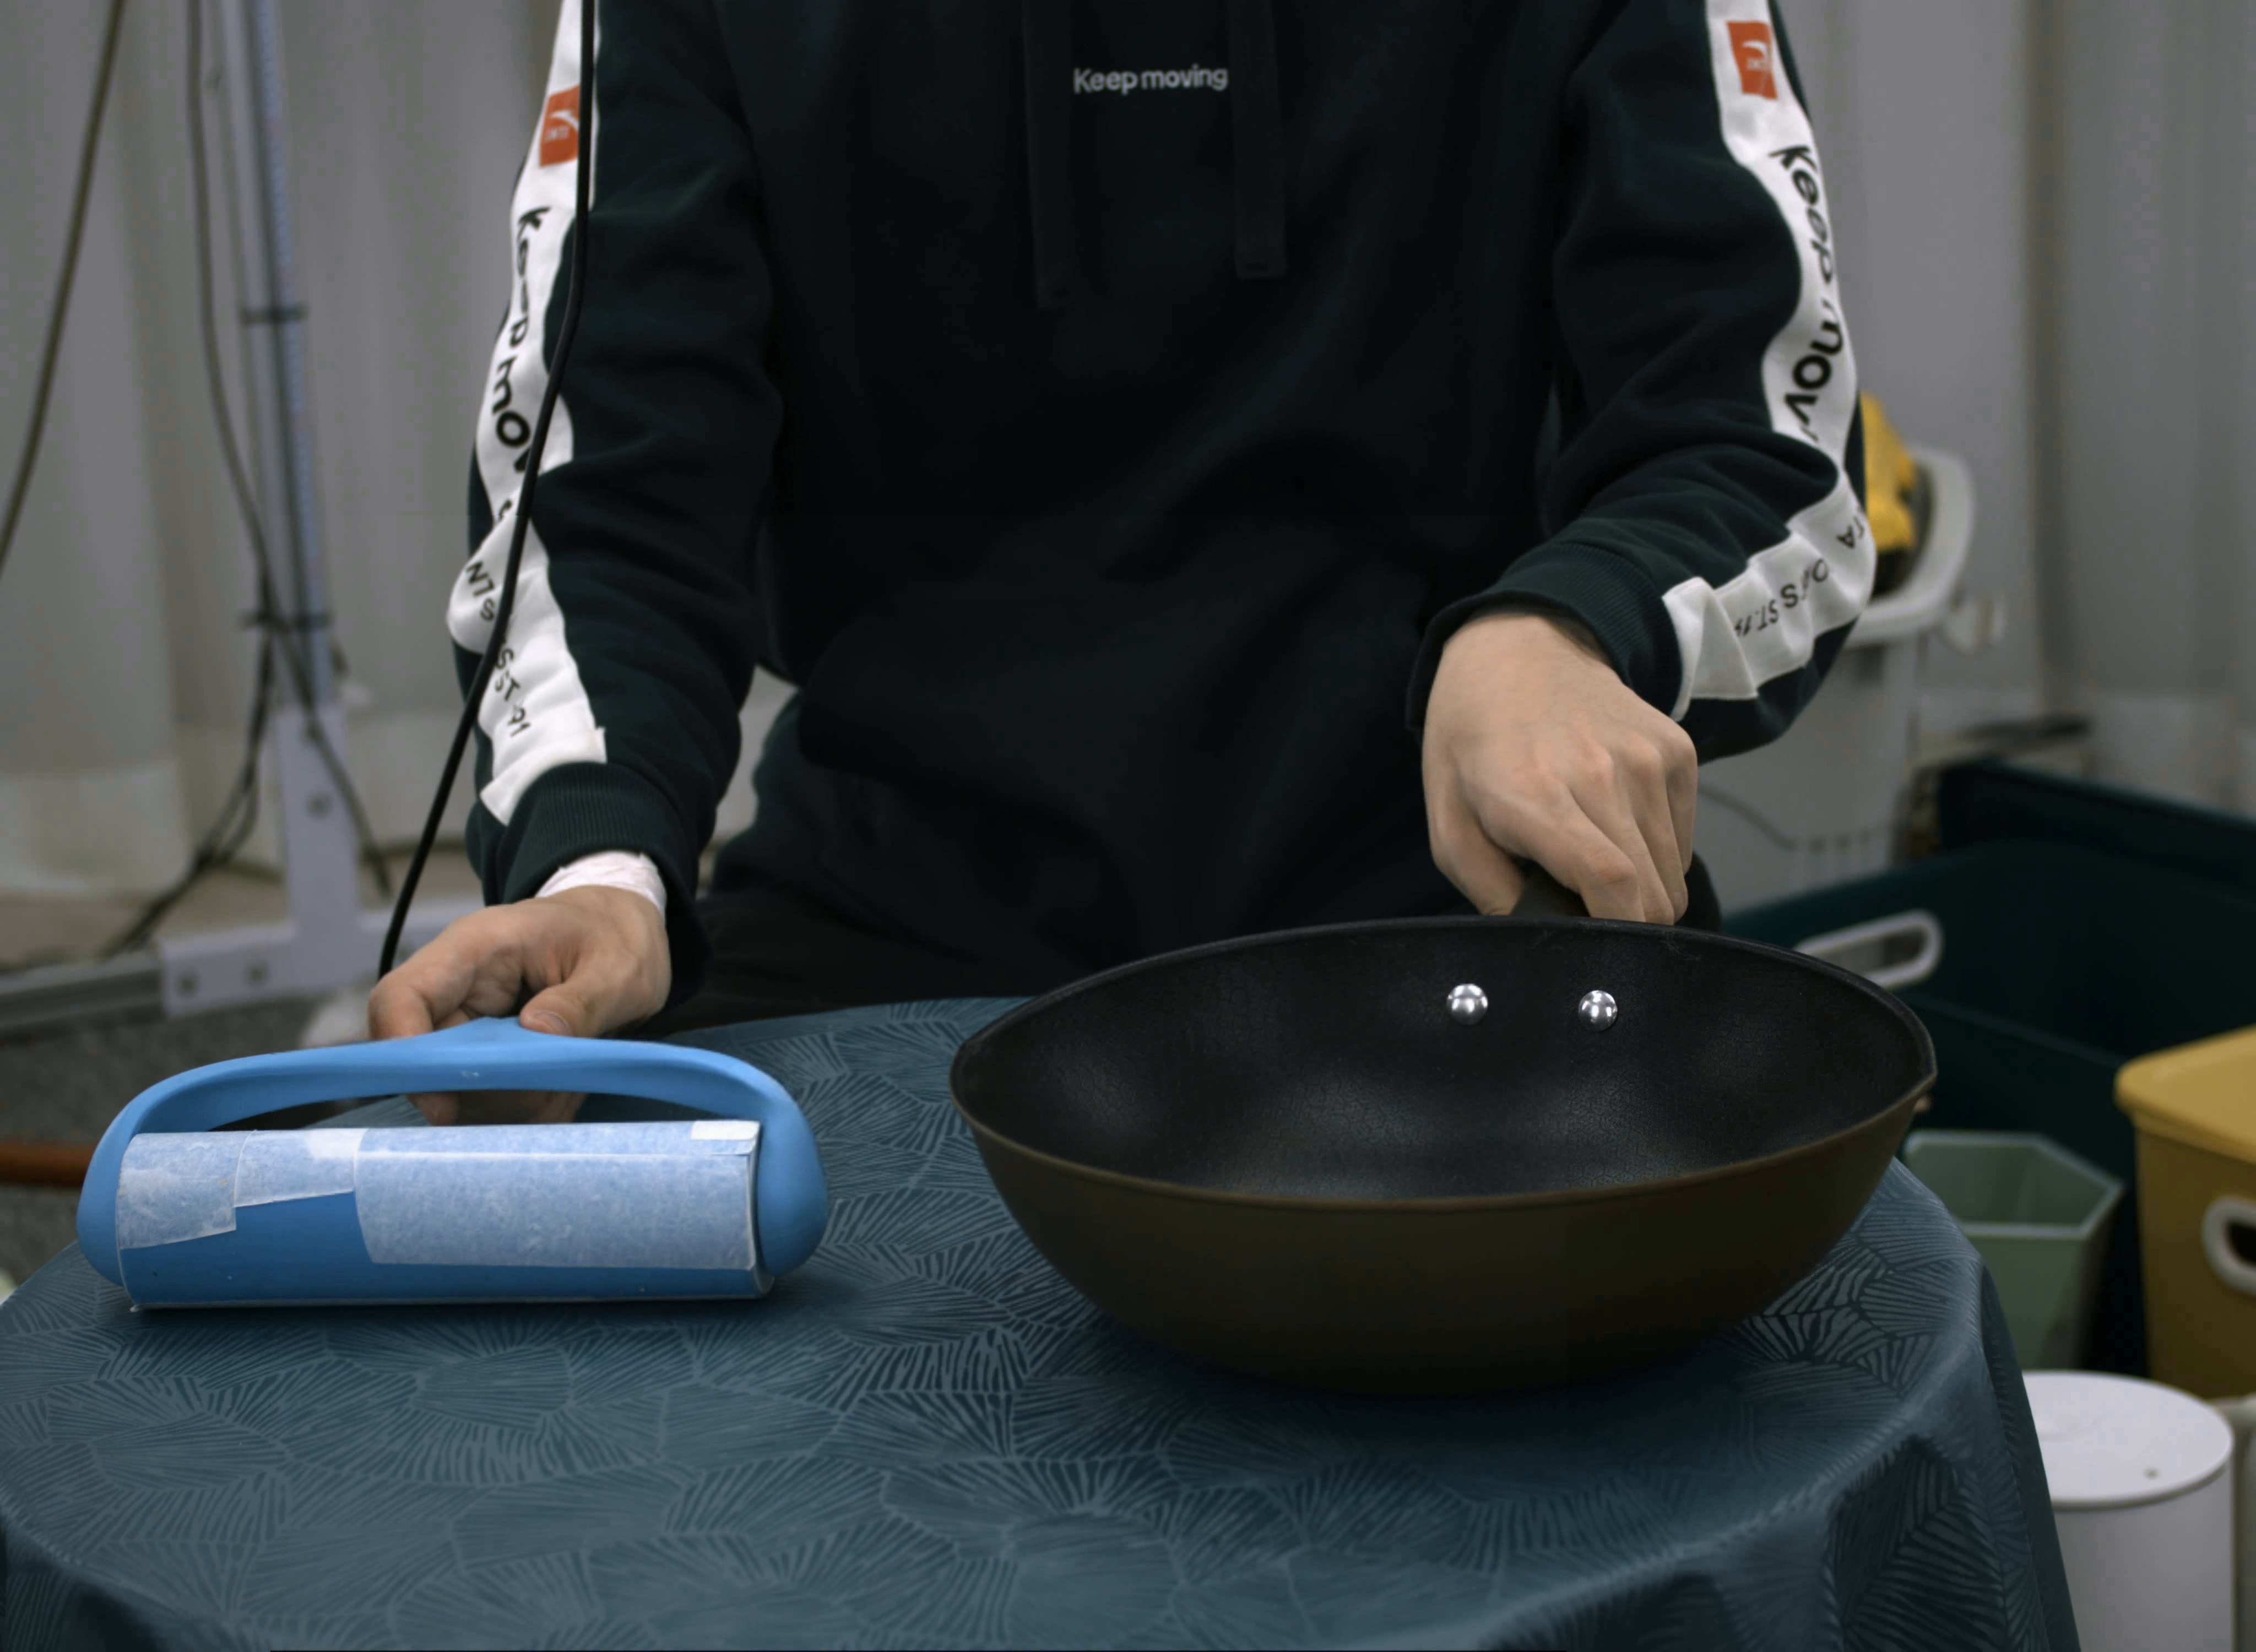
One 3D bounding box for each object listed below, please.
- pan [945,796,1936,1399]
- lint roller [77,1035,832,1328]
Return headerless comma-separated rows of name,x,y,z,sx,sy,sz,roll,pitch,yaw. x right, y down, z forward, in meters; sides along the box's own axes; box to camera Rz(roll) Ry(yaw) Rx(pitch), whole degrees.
pan,0.114,0.080,1.667,0.288,0.086,0.465,2,14,16
lint roller,-0.200,0.097,1.694,0.228,0.067,0.182,-5,21,4
